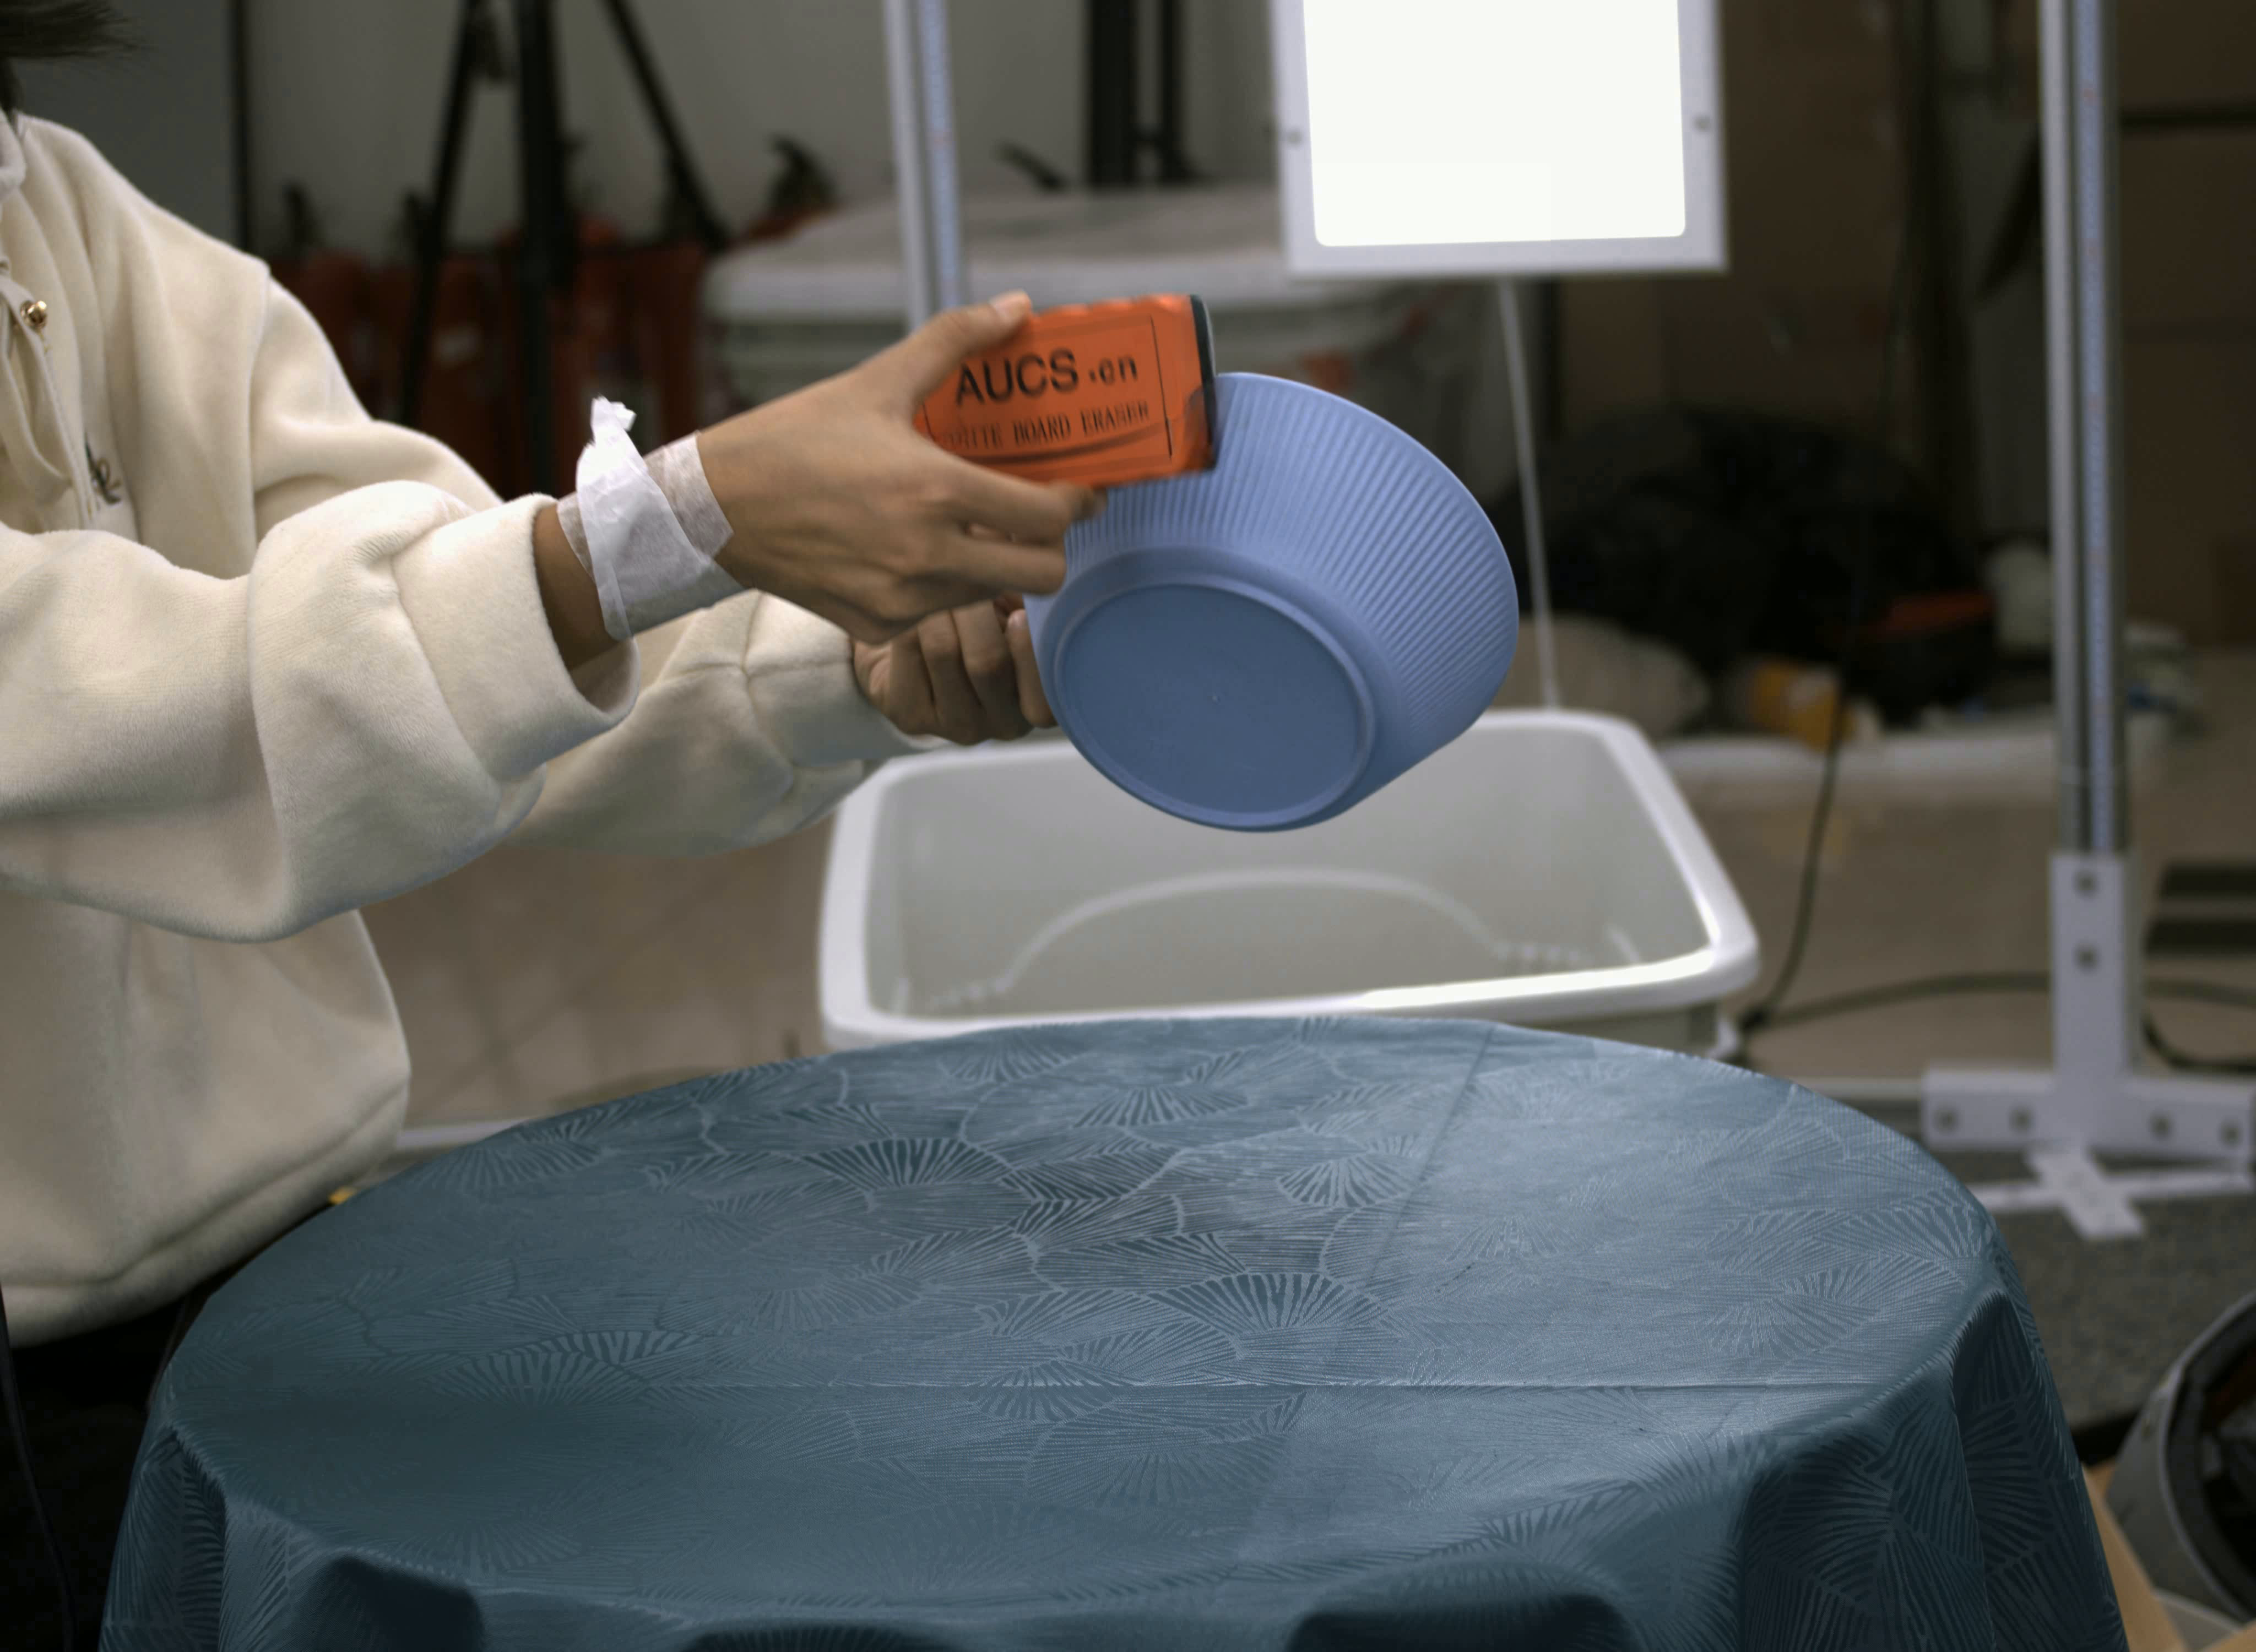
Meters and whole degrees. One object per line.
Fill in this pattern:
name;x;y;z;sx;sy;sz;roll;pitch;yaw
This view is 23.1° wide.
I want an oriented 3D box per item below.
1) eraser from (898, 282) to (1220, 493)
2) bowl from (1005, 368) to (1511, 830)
eraser;-0.022;-0.139;1.750;0.110;0.059;0.022;-4;8;38
bowl;0.035;-0.063;1.825;0.178;0.176;0.069;1;42;22
